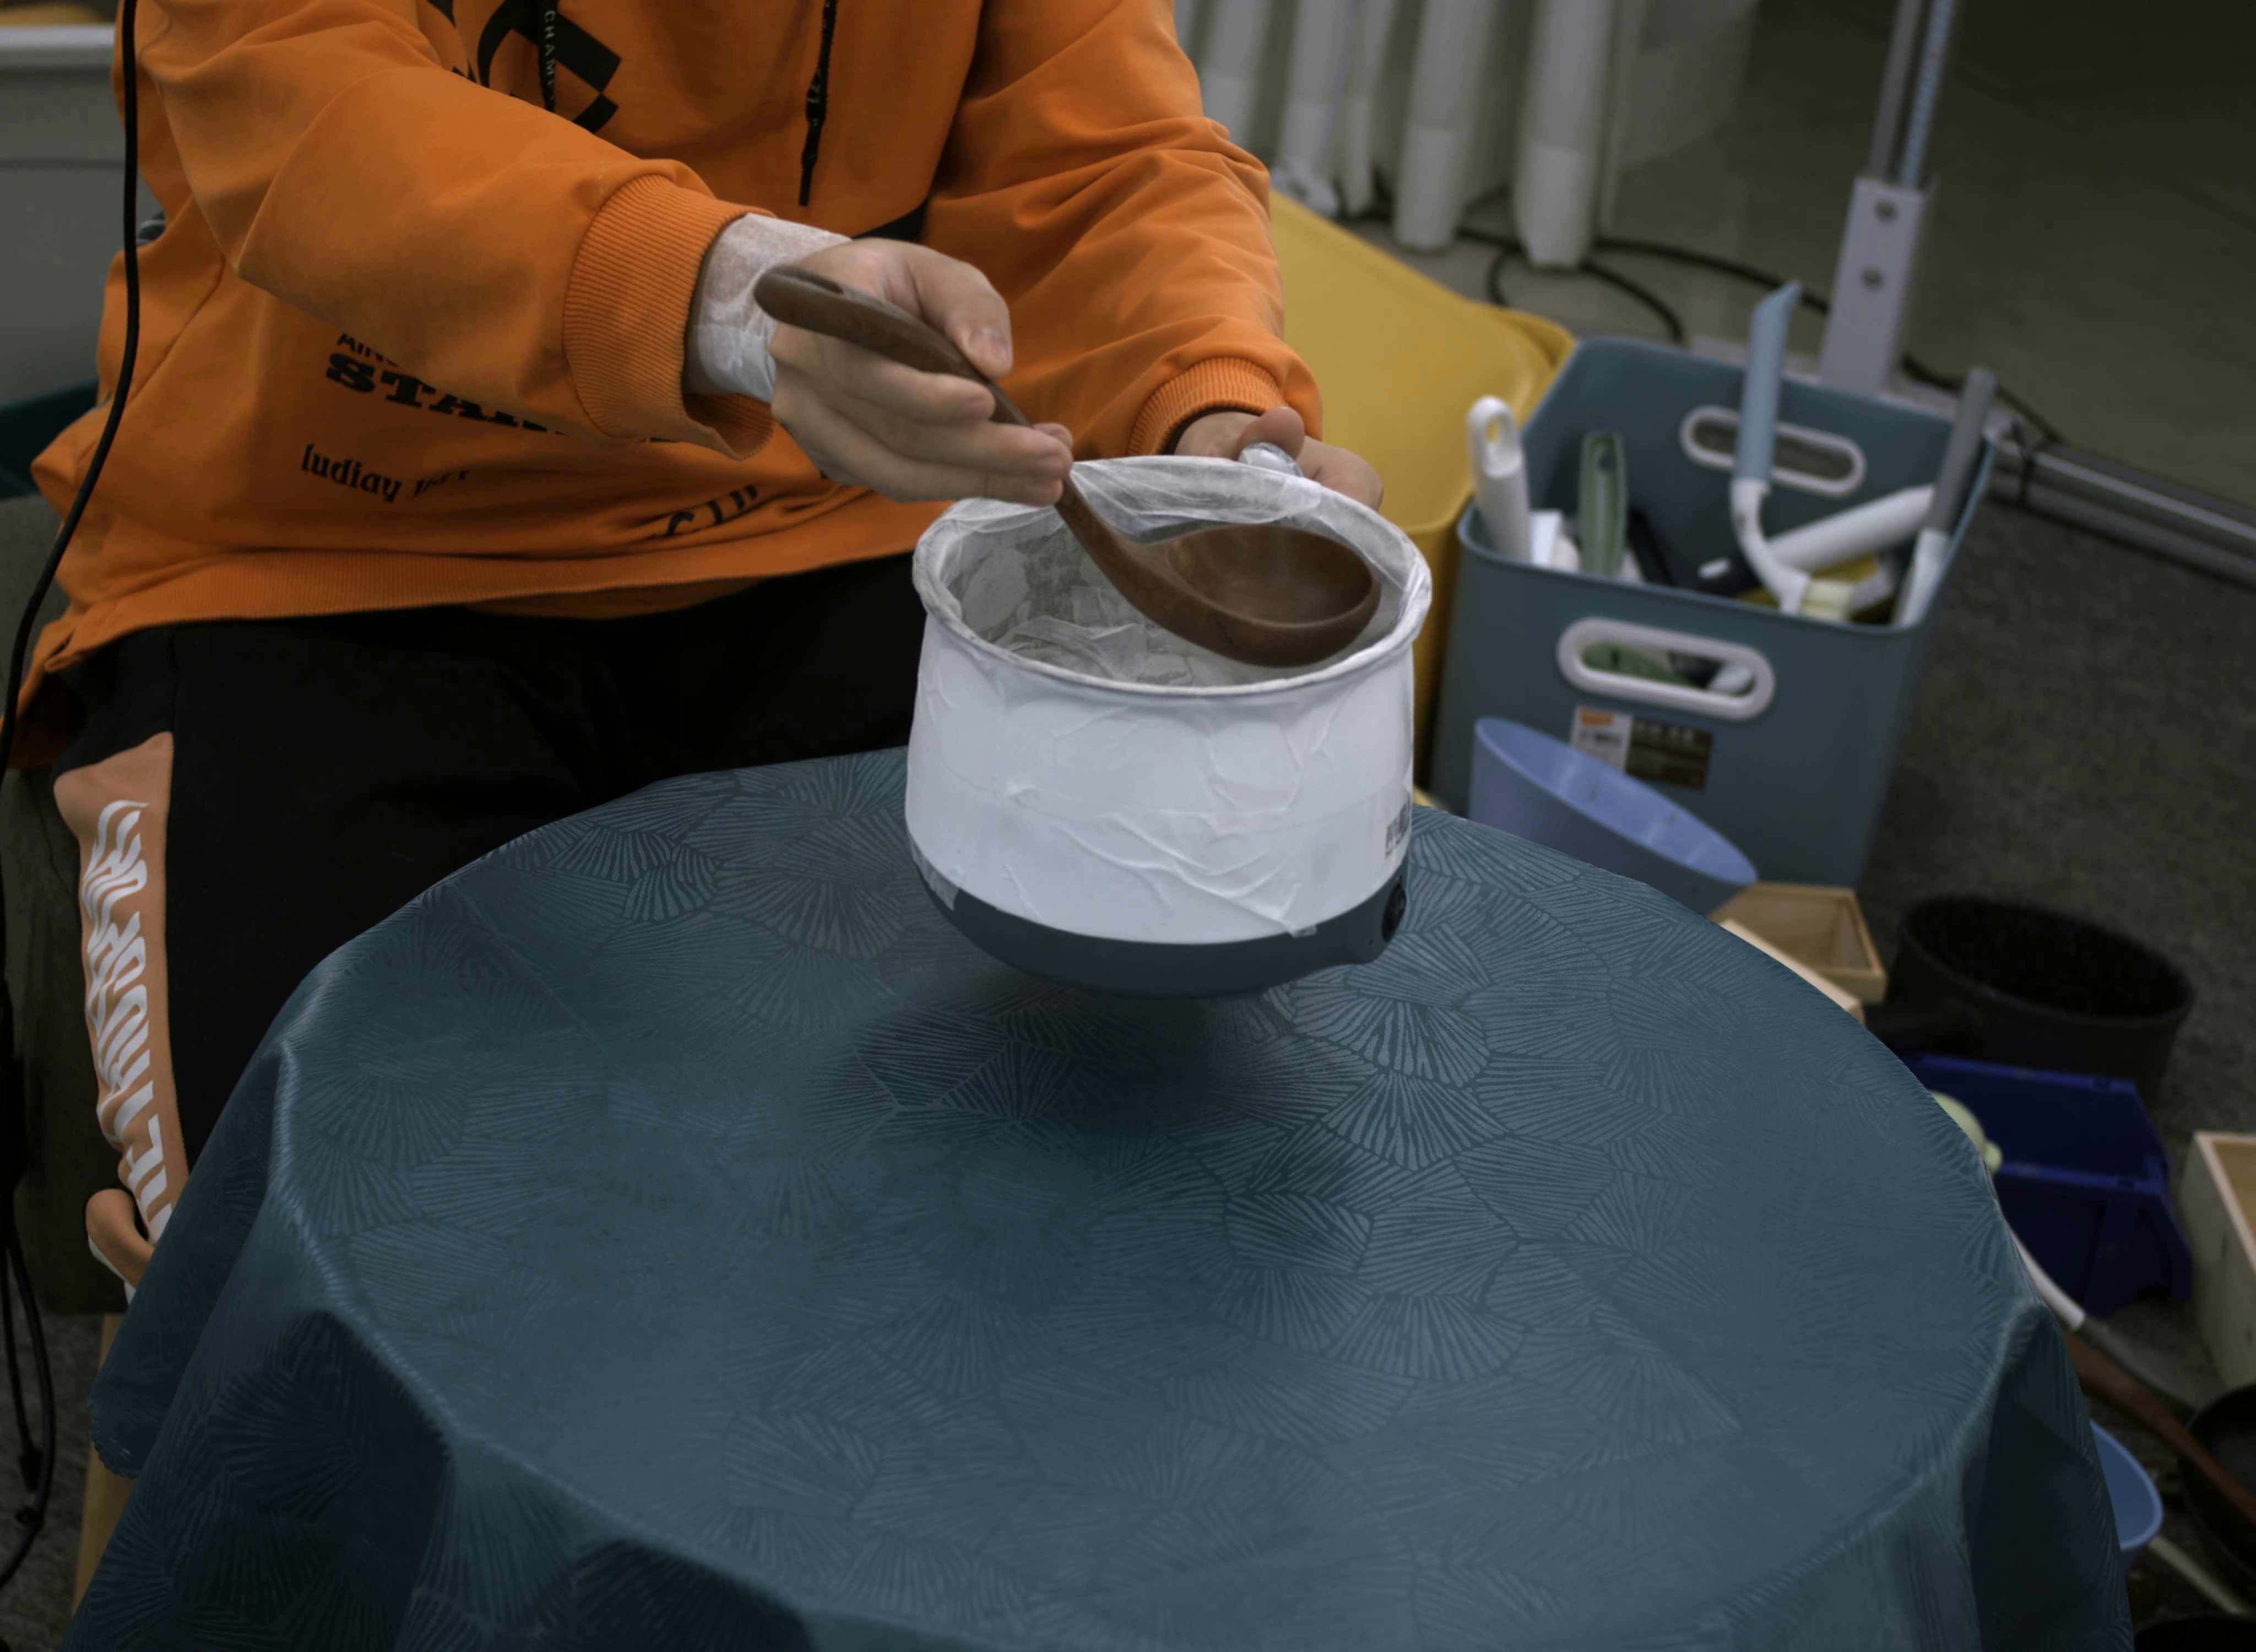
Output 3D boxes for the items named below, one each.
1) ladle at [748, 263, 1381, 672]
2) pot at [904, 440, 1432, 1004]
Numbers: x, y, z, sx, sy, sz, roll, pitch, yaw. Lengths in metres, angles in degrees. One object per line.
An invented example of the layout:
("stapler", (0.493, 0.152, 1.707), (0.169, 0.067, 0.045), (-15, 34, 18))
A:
("ladle", (-0.017, -0.128, 1.760), (0.258, 0.065, 0.077), (38, 10, -34))
("pot", (0.020, -0.045, 1.861), (0.179, 0.136, 0.234), (12, 31, 14))
